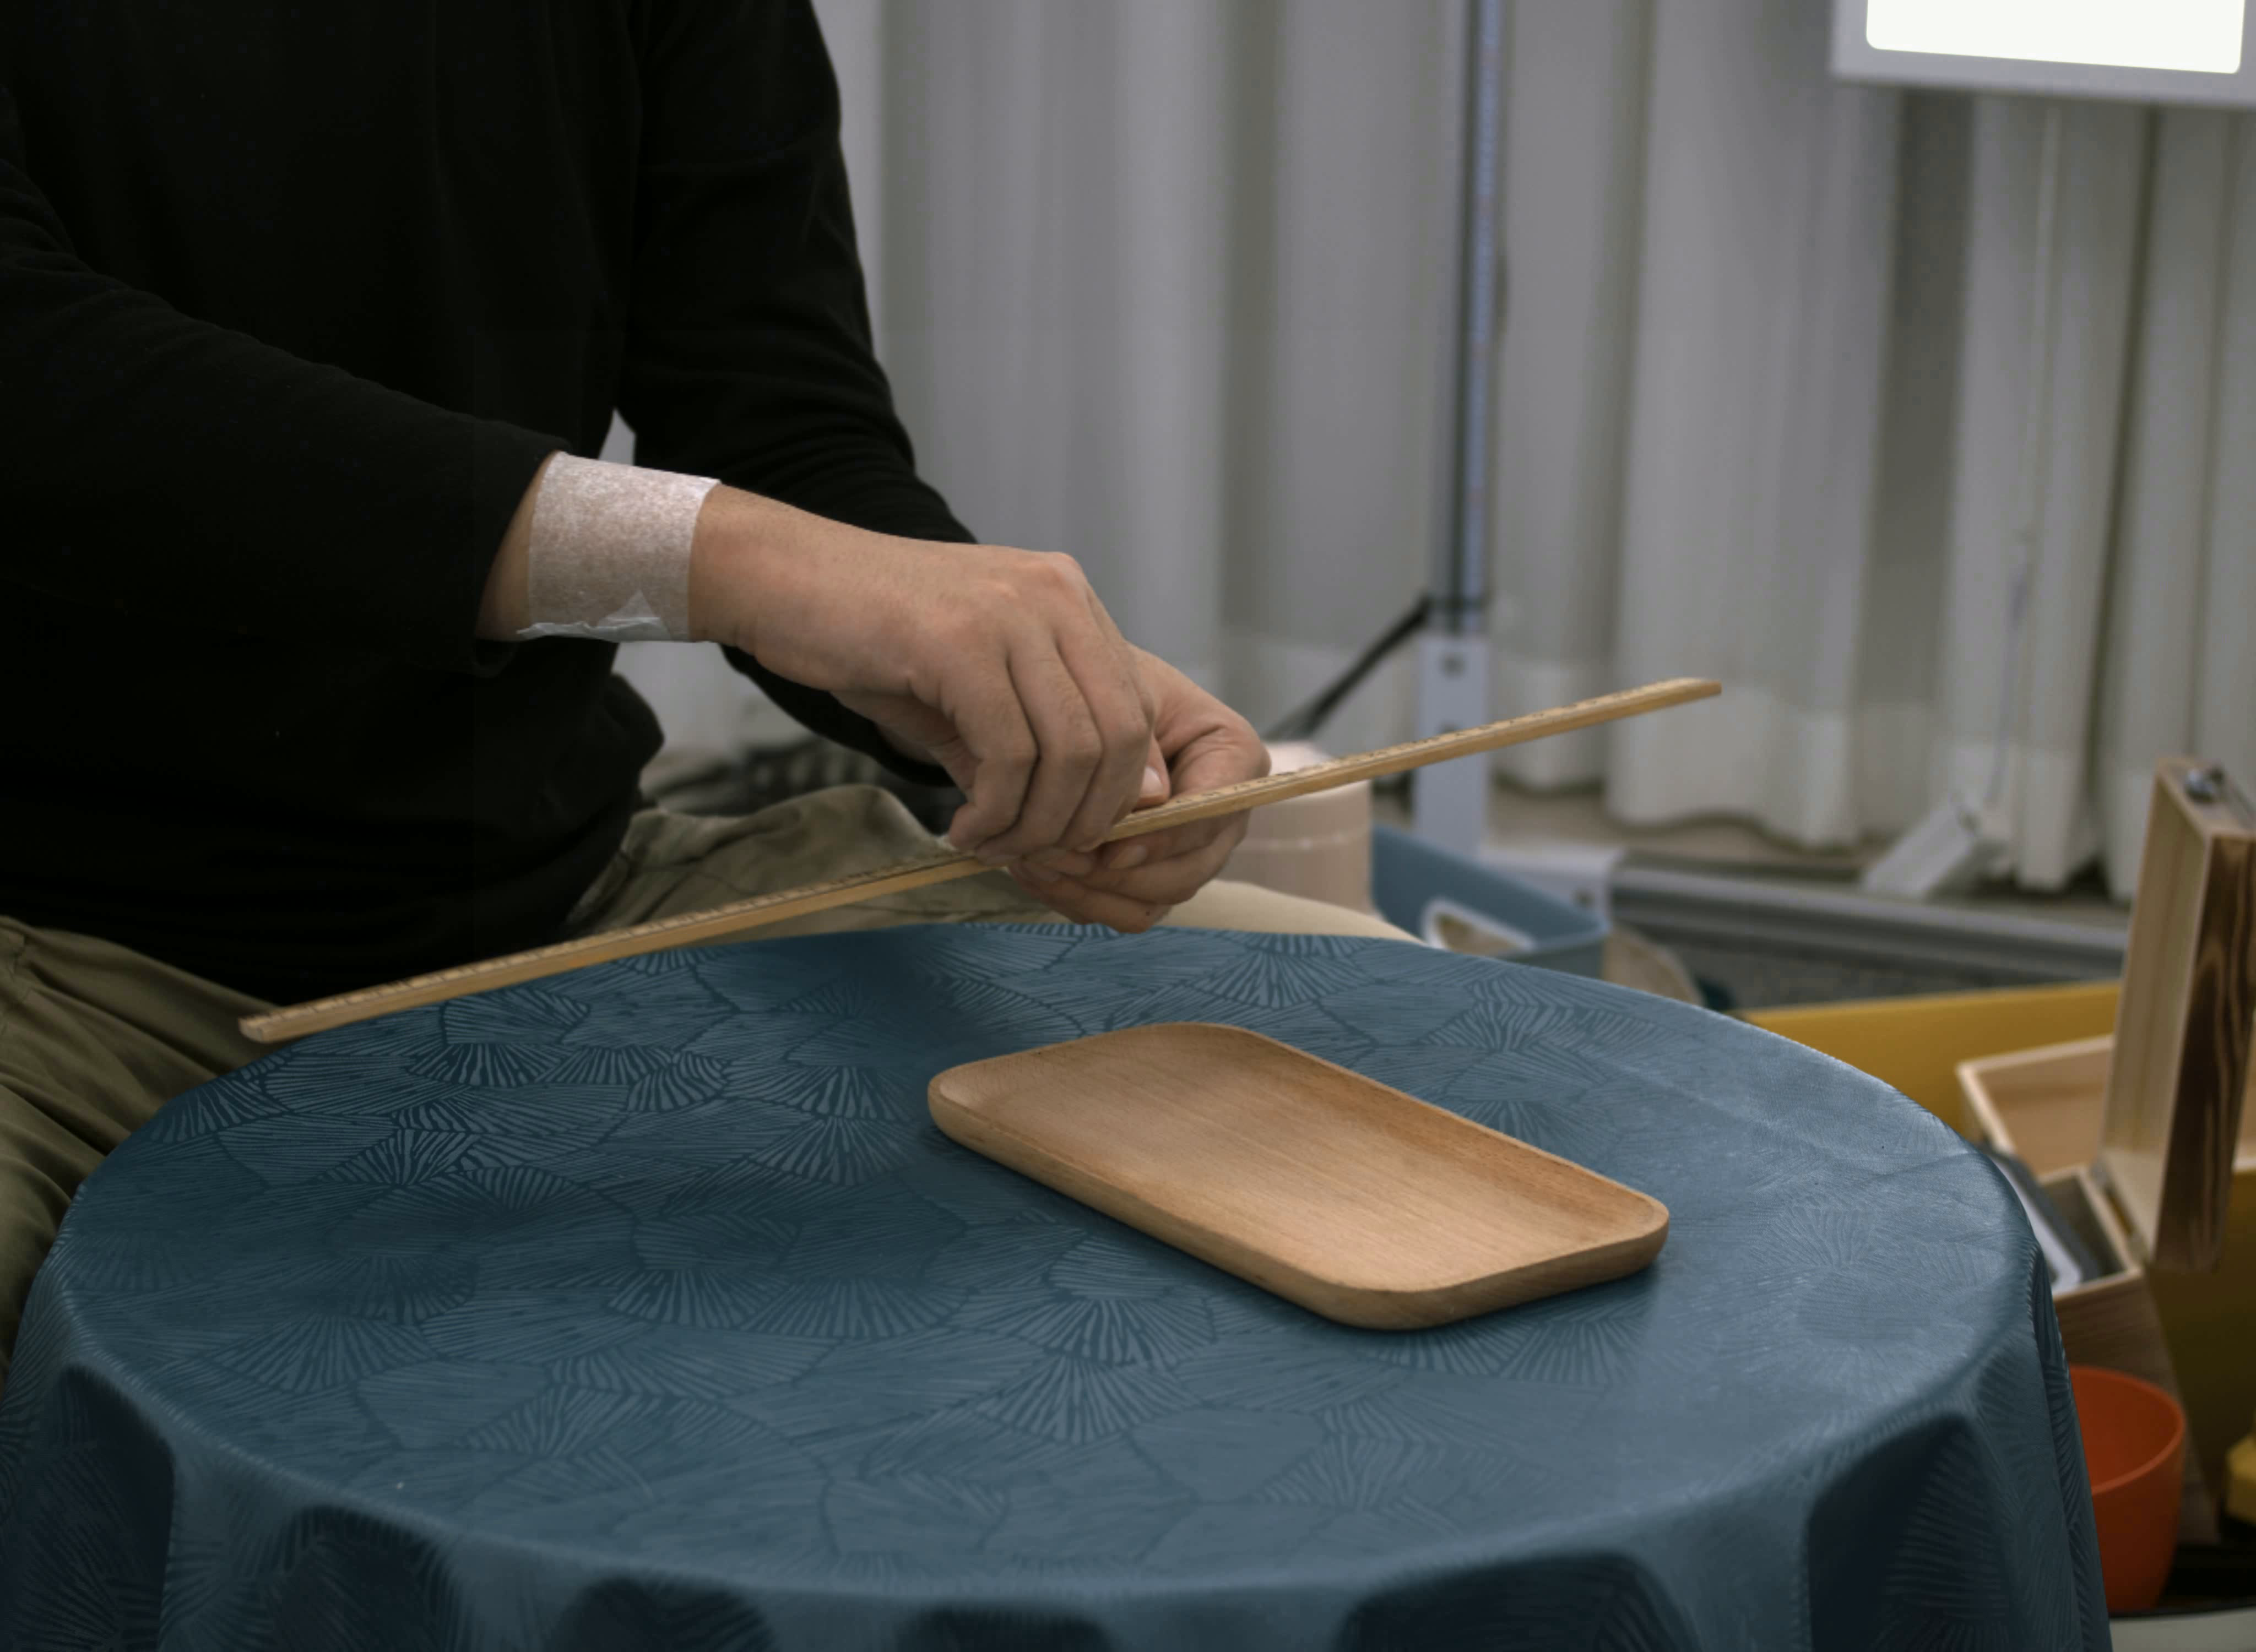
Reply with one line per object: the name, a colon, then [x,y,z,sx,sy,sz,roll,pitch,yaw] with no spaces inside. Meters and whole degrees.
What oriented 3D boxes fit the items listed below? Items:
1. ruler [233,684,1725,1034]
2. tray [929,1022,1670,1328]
ruler: [-0.034,0.007,1.623,0.502,0.006,0.026,-13,5,-24]
tray: [0.049,0.105,1.620,0.131,0.023,0.247,-8,16,-34]
